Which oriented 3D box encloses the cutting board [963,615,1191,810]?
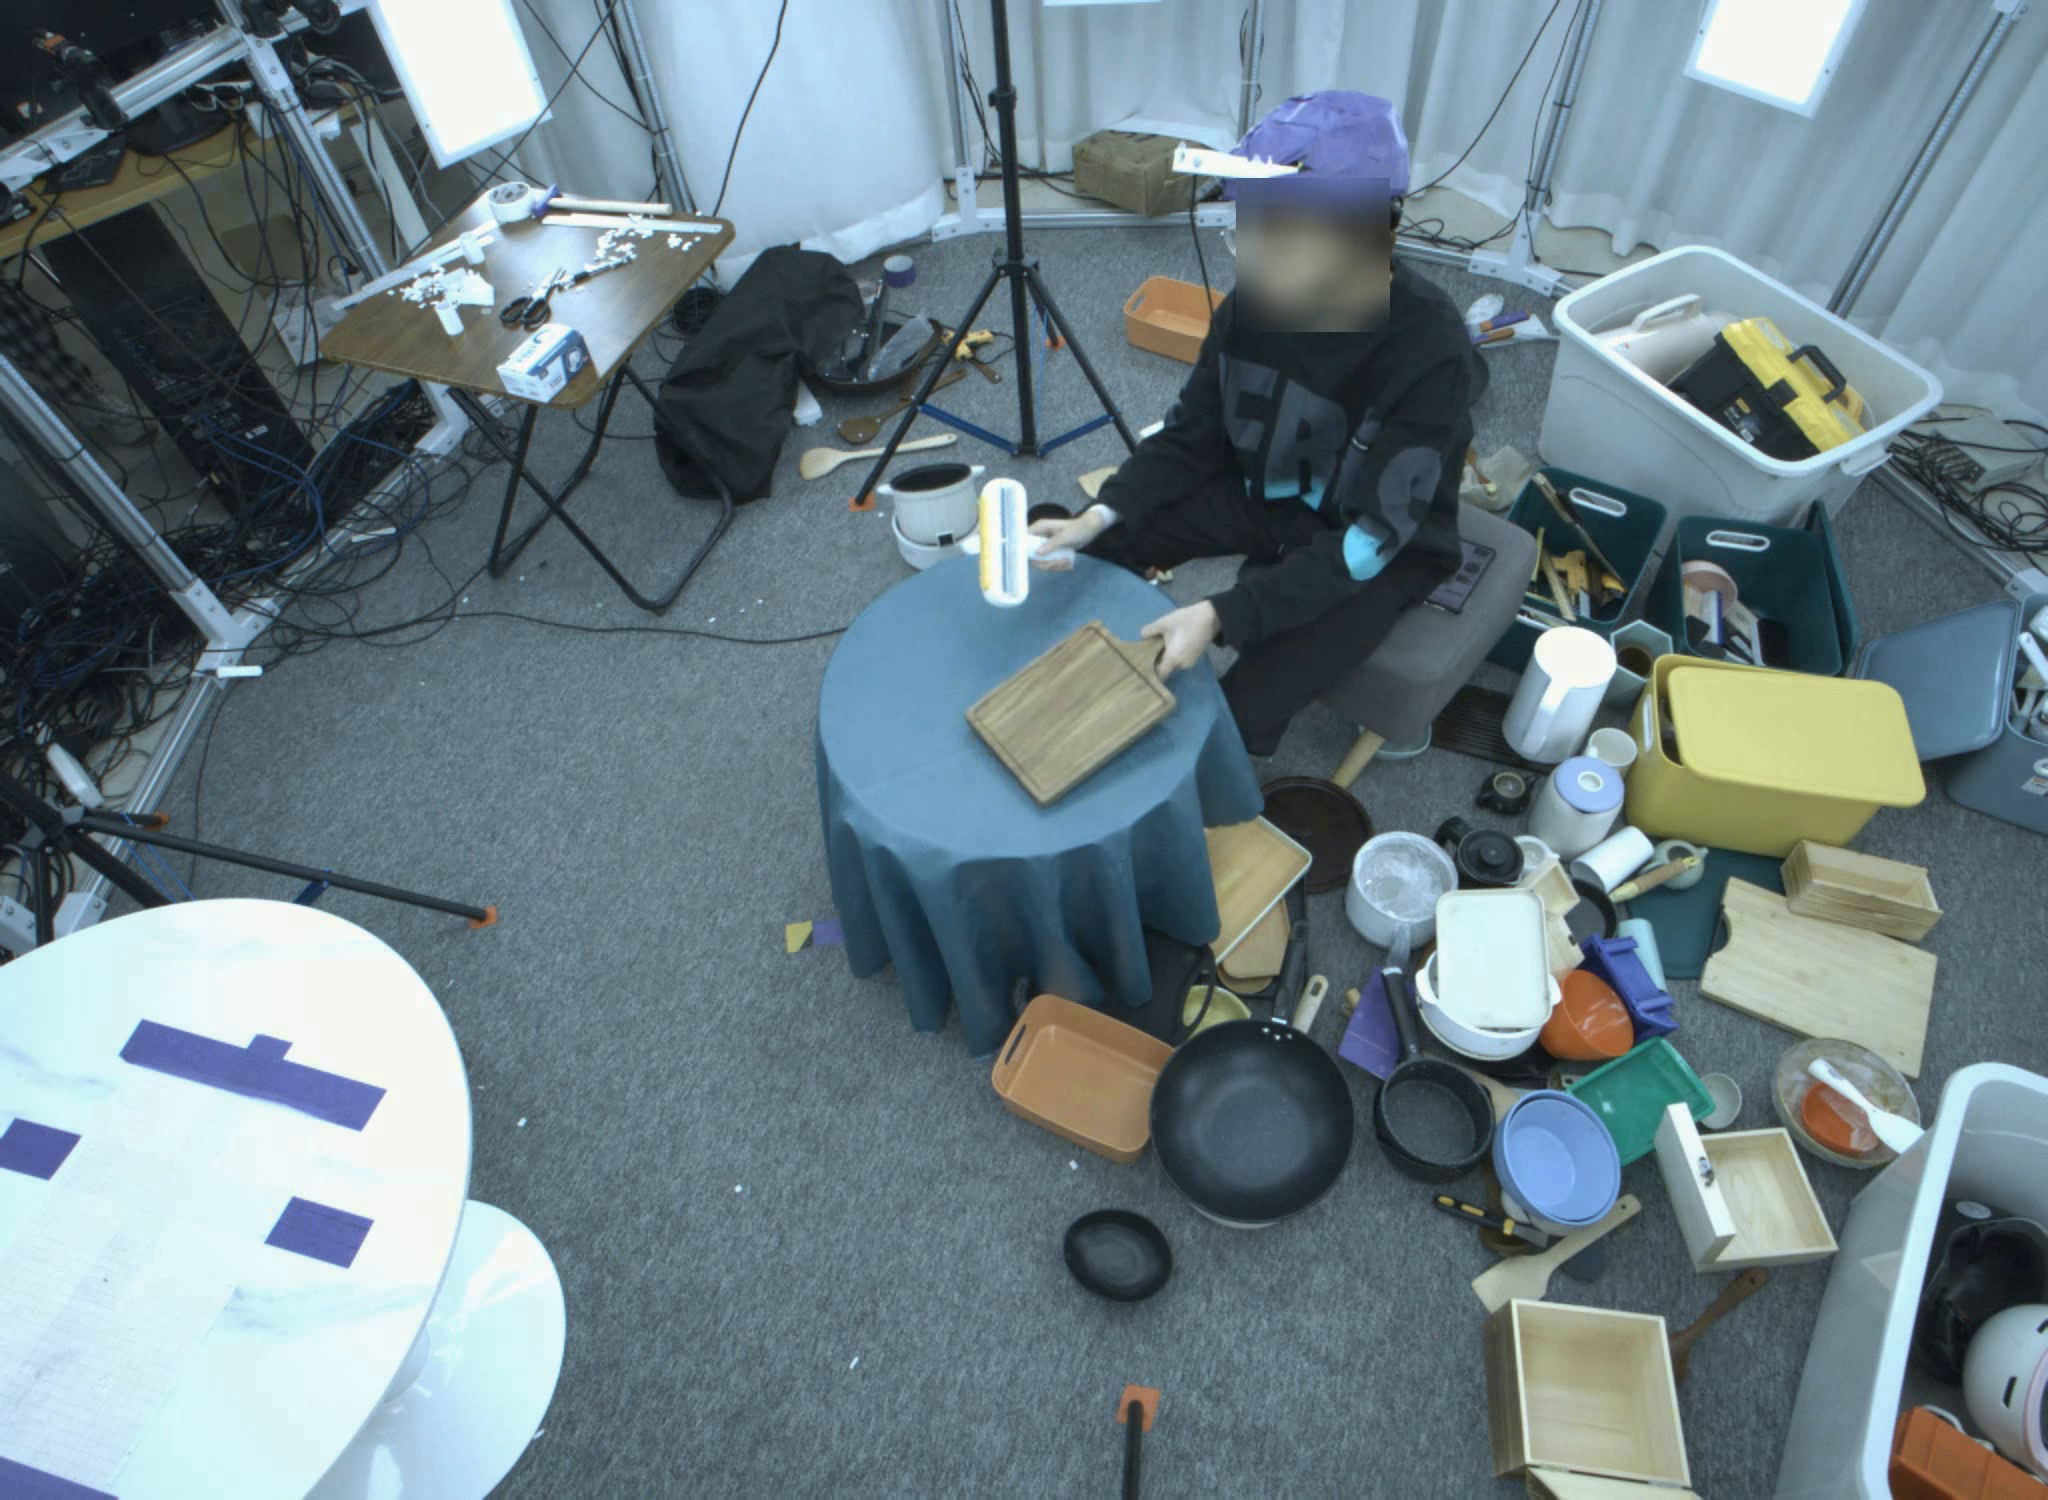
[{"bbox_3d":[0.104,-0.084,1.784,0.353,0.023,0.197,-37,64,-11],"label":"cutting board"}]

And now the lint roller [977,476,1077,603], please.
[{"bbox_3d":[0.011,-0.312,1.873,0.196,0.073,0.192,3,80,-35],"label":"lint roller"}]
